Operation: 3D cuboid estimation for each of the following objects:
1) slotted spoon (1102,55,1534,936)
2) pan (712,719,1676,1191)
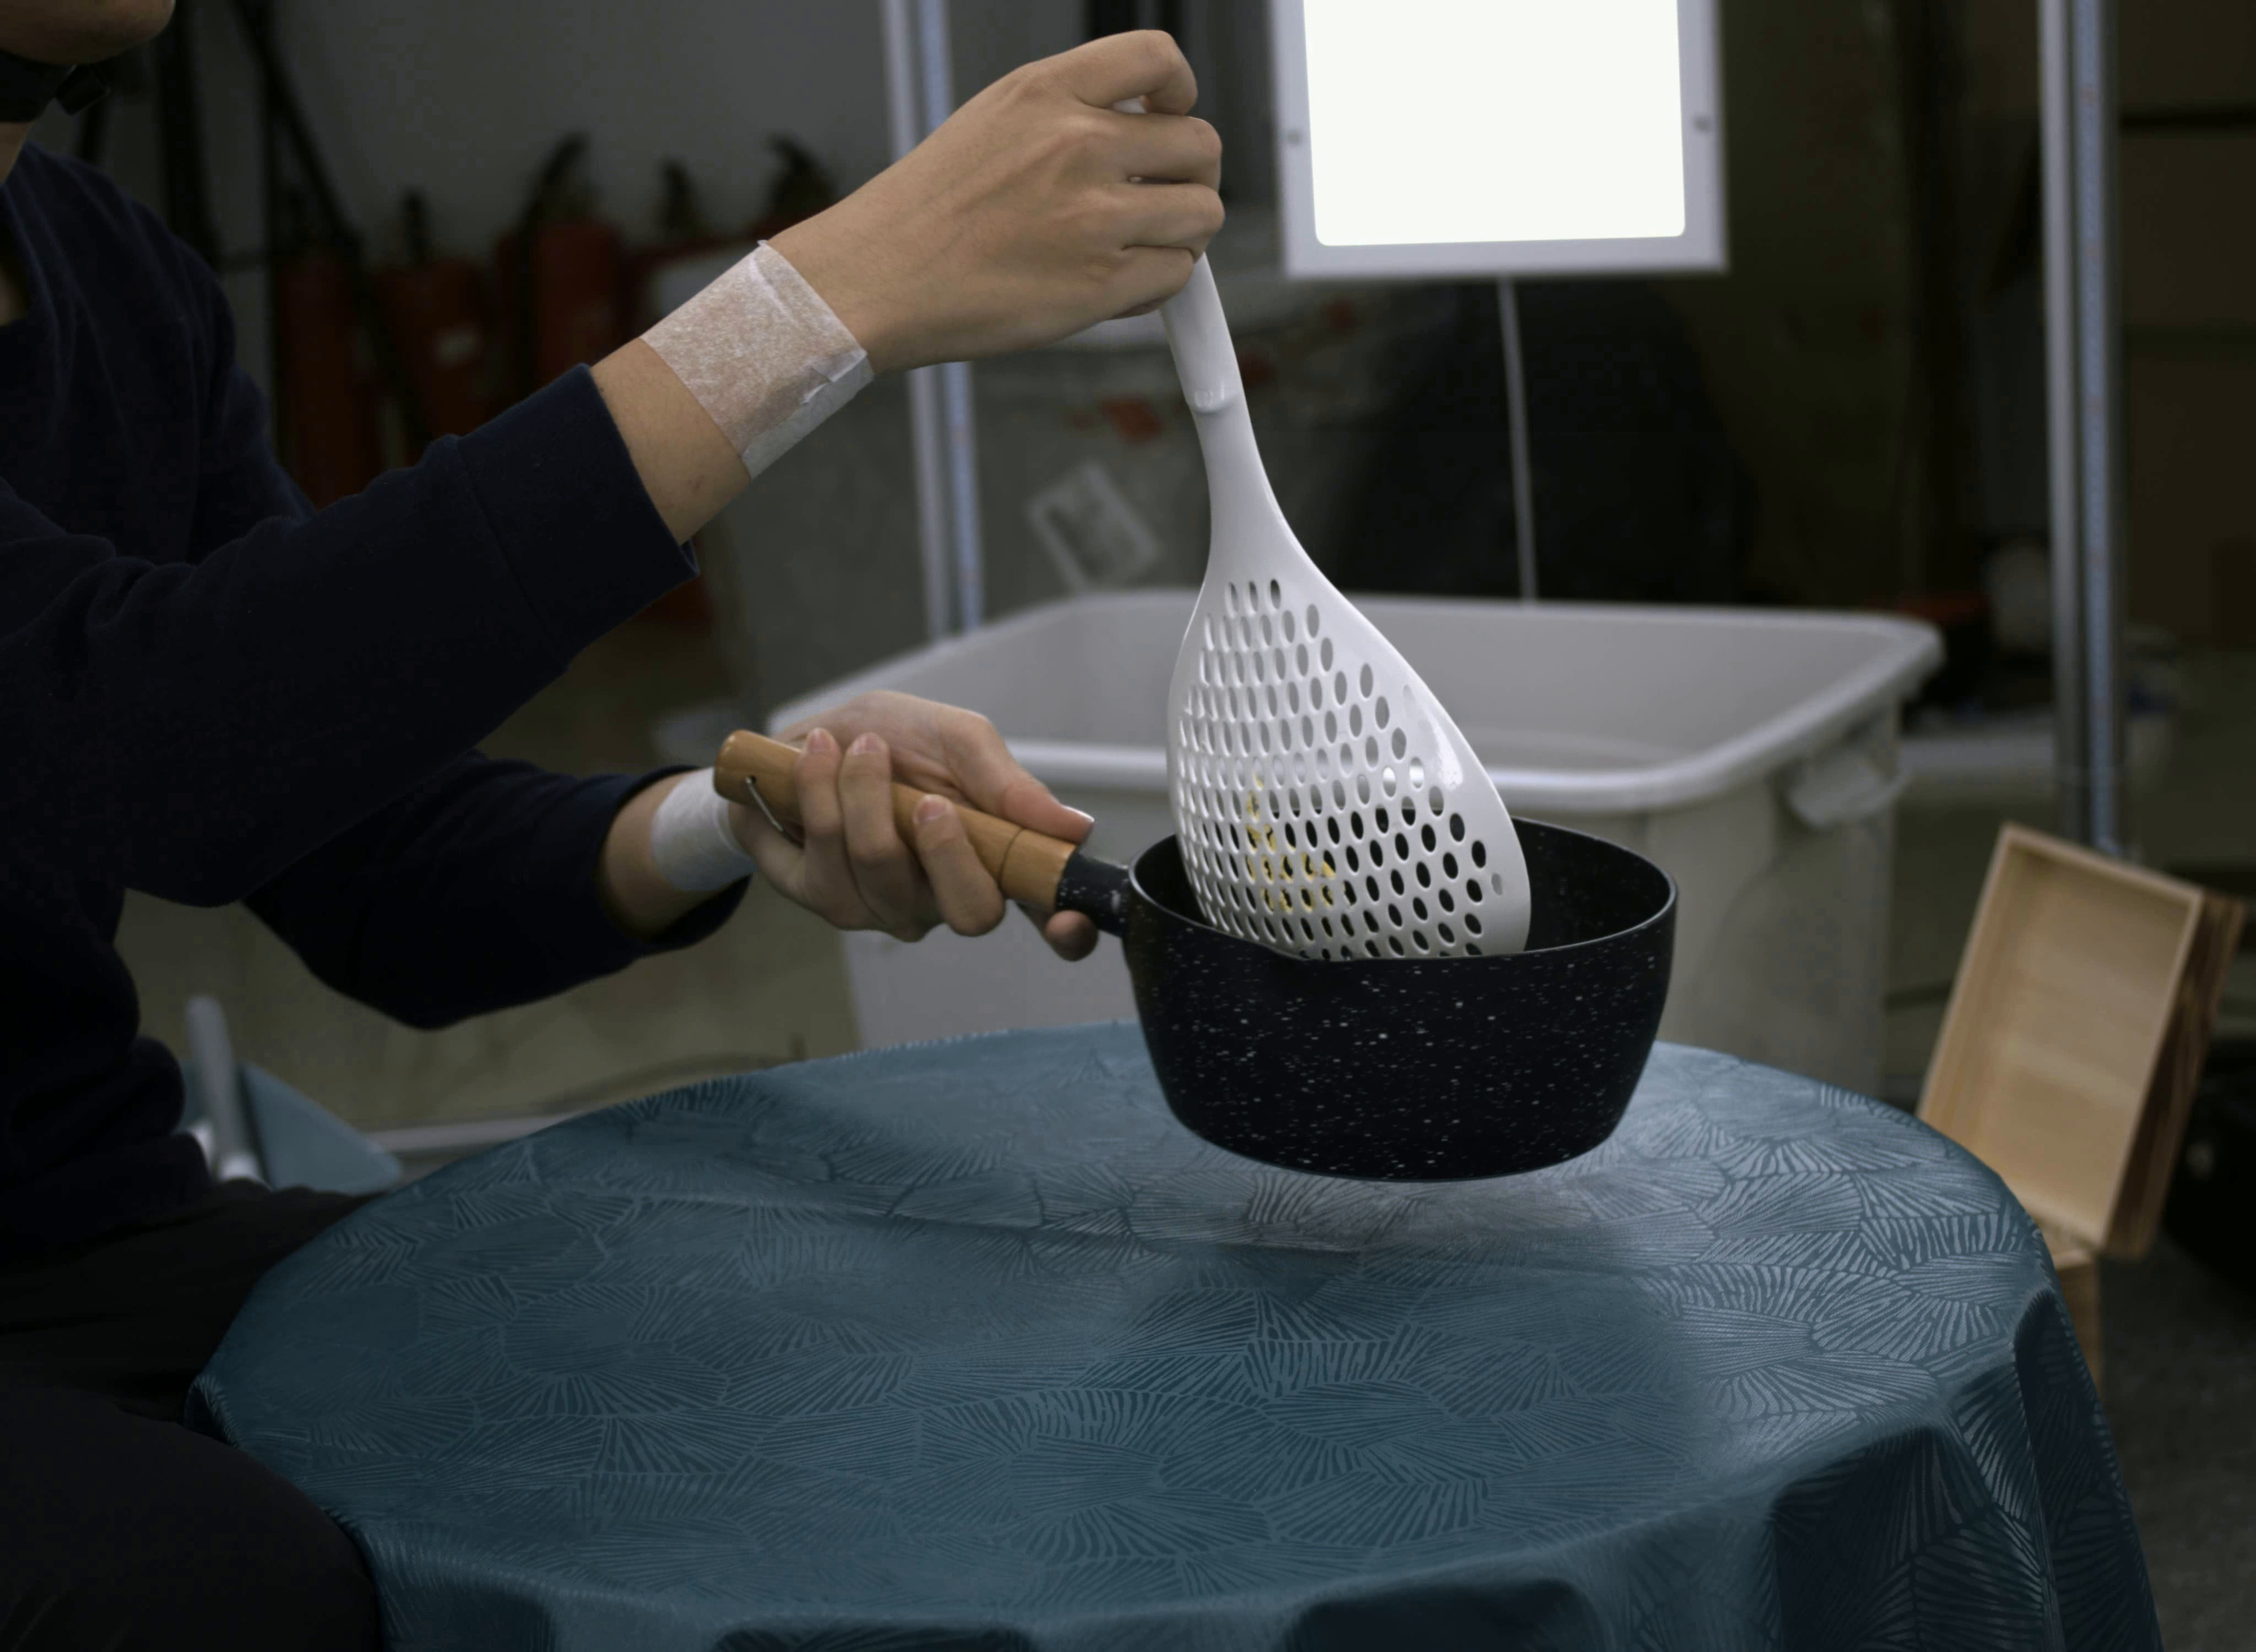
[{"bbox_3d":[0.040,-0.088,1.798,0.139,0.348,0.049,-1,20,35],"label":"slotted spoon"},{"bbox_3d":[0.015,0.037,1.863,0.347,0.109,0.204,7,17,19],"label":"pan"}]
